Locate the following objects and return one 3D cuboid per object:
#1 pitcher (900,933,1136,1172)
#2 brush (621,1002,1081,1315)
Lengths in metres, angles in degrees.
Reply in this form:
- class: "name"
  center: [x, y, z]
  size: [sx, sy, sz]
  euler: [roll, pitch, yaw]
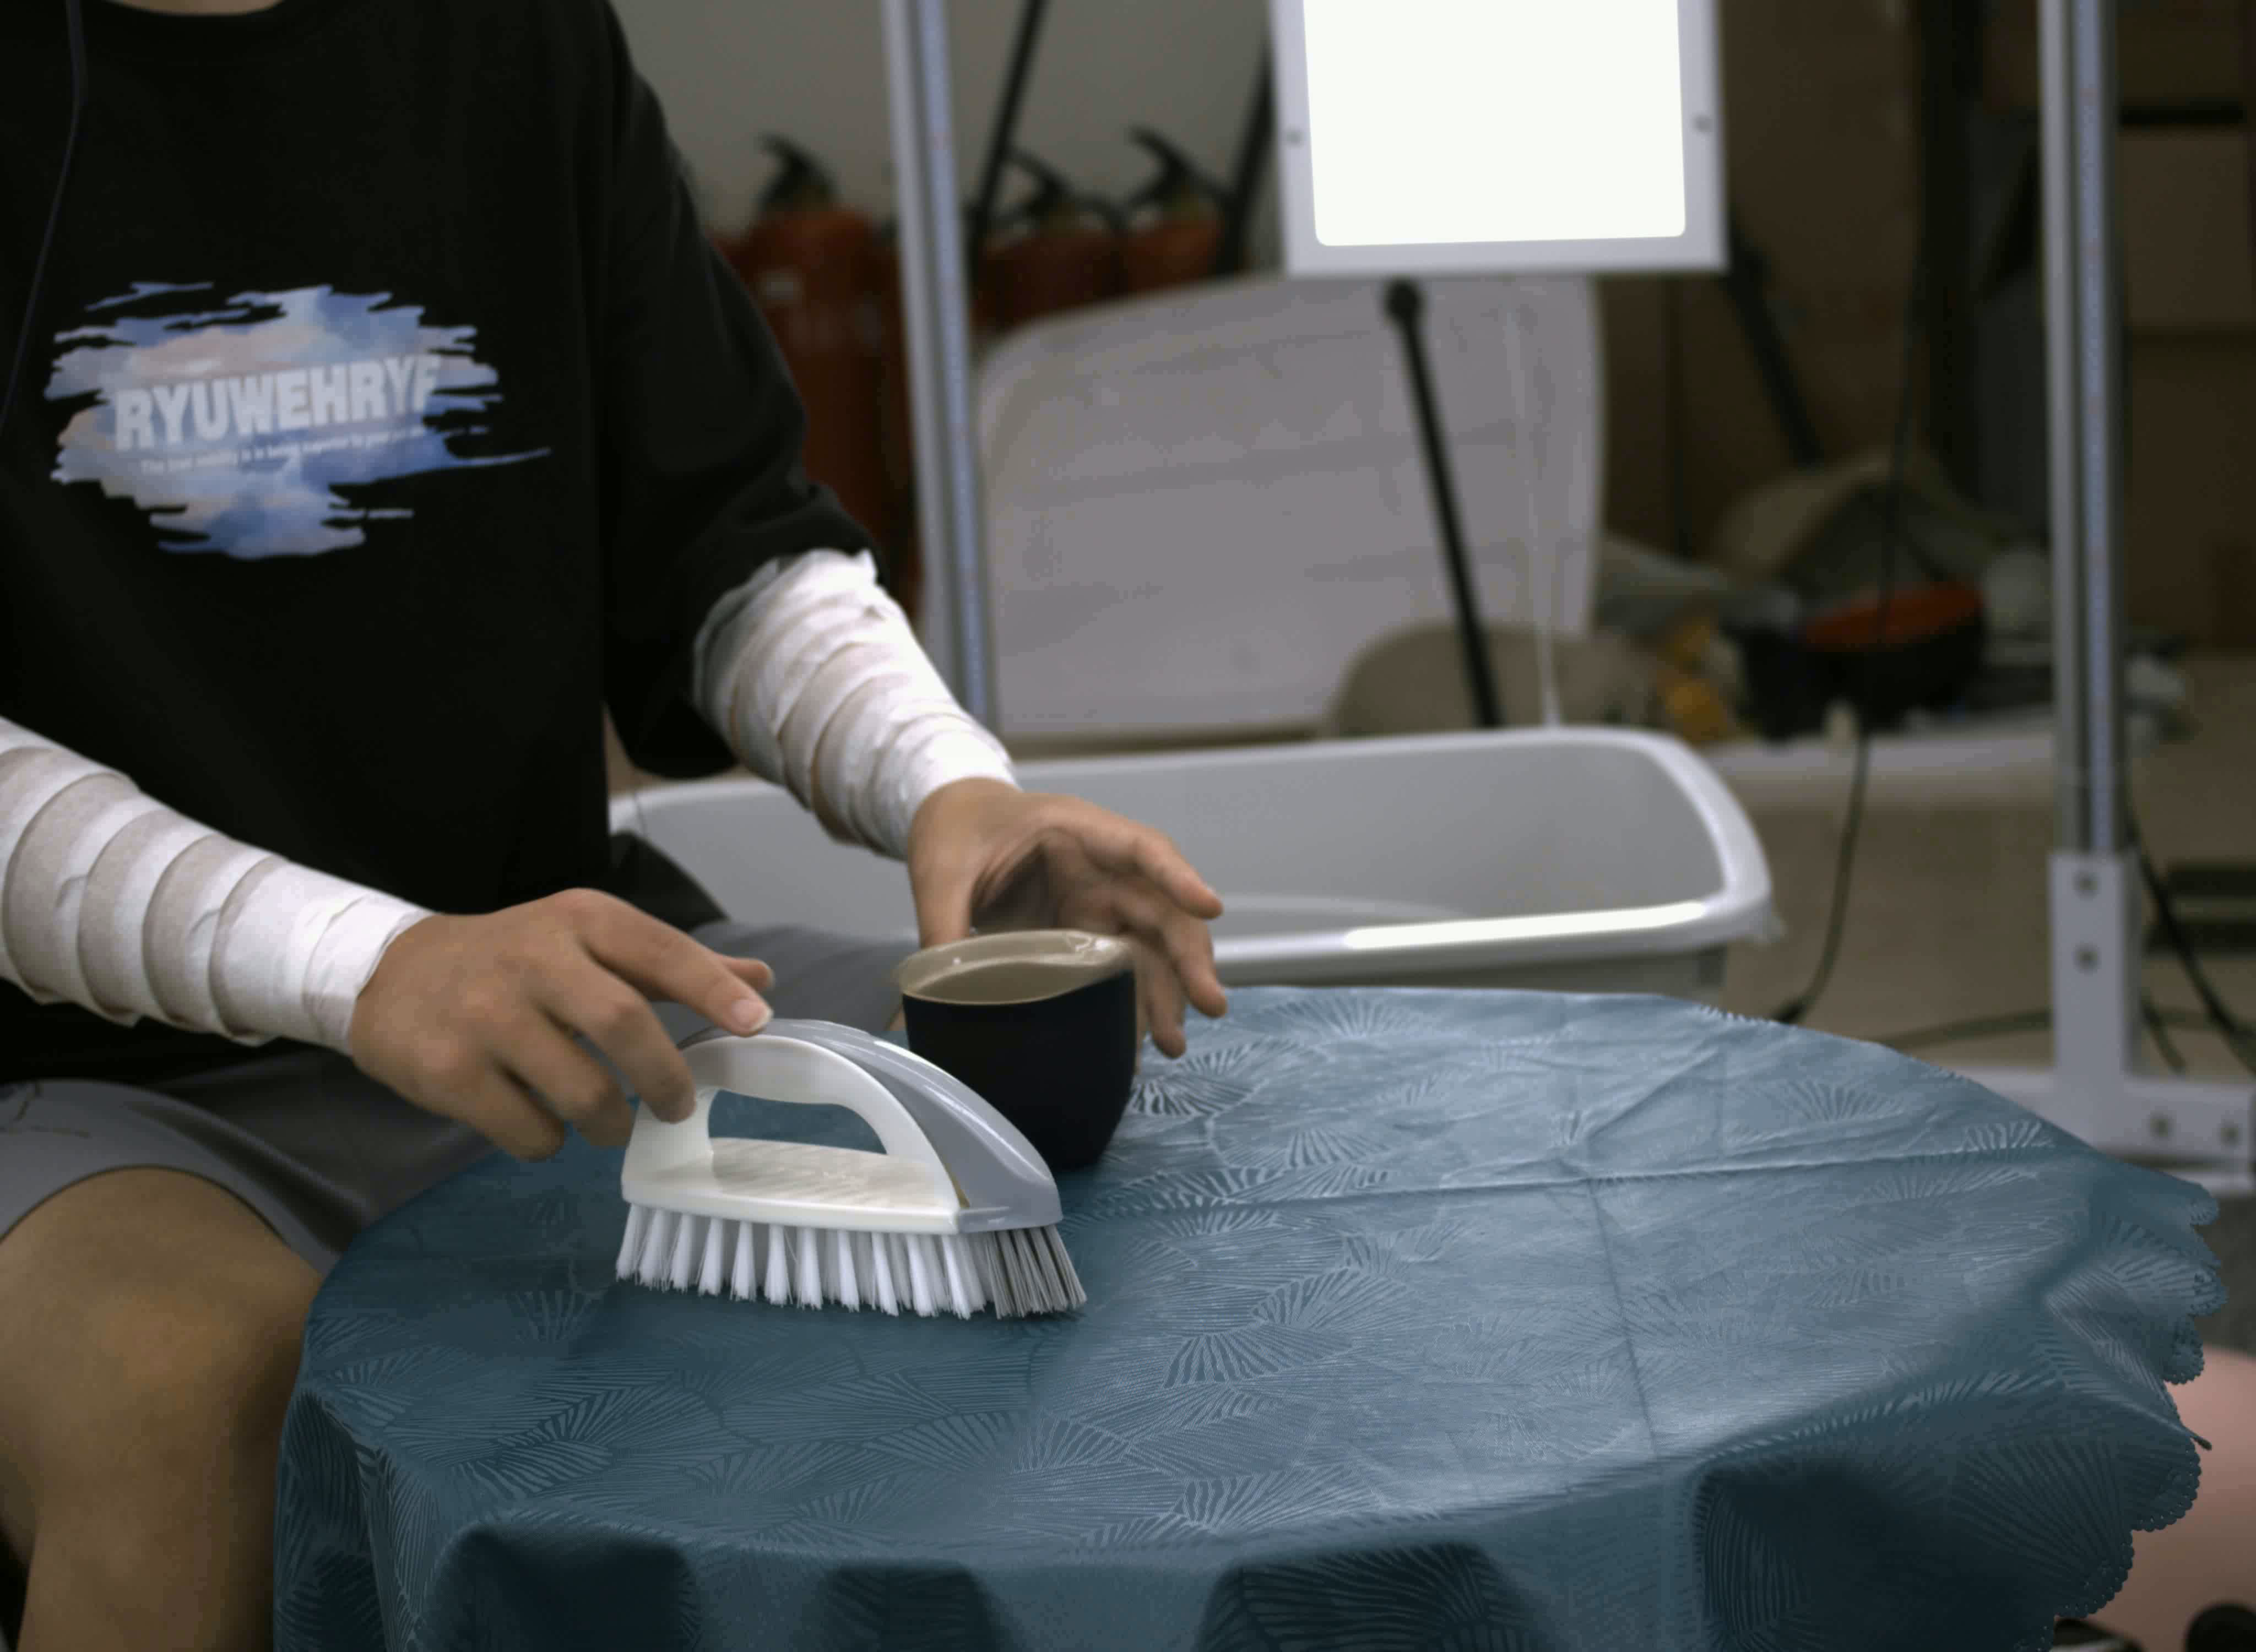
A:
- class: "pitcher"
  center: [-0.034, 0.081, 1.943]
  size: [0.085, 0.071, 0.093]
  euler: [4, 13, 38]
- class: "brush"
  center: [-0.091, 0.107, 1.816]
  size: [0.179, 0.094, 0.060]
  euler: [8, 21, 35]
